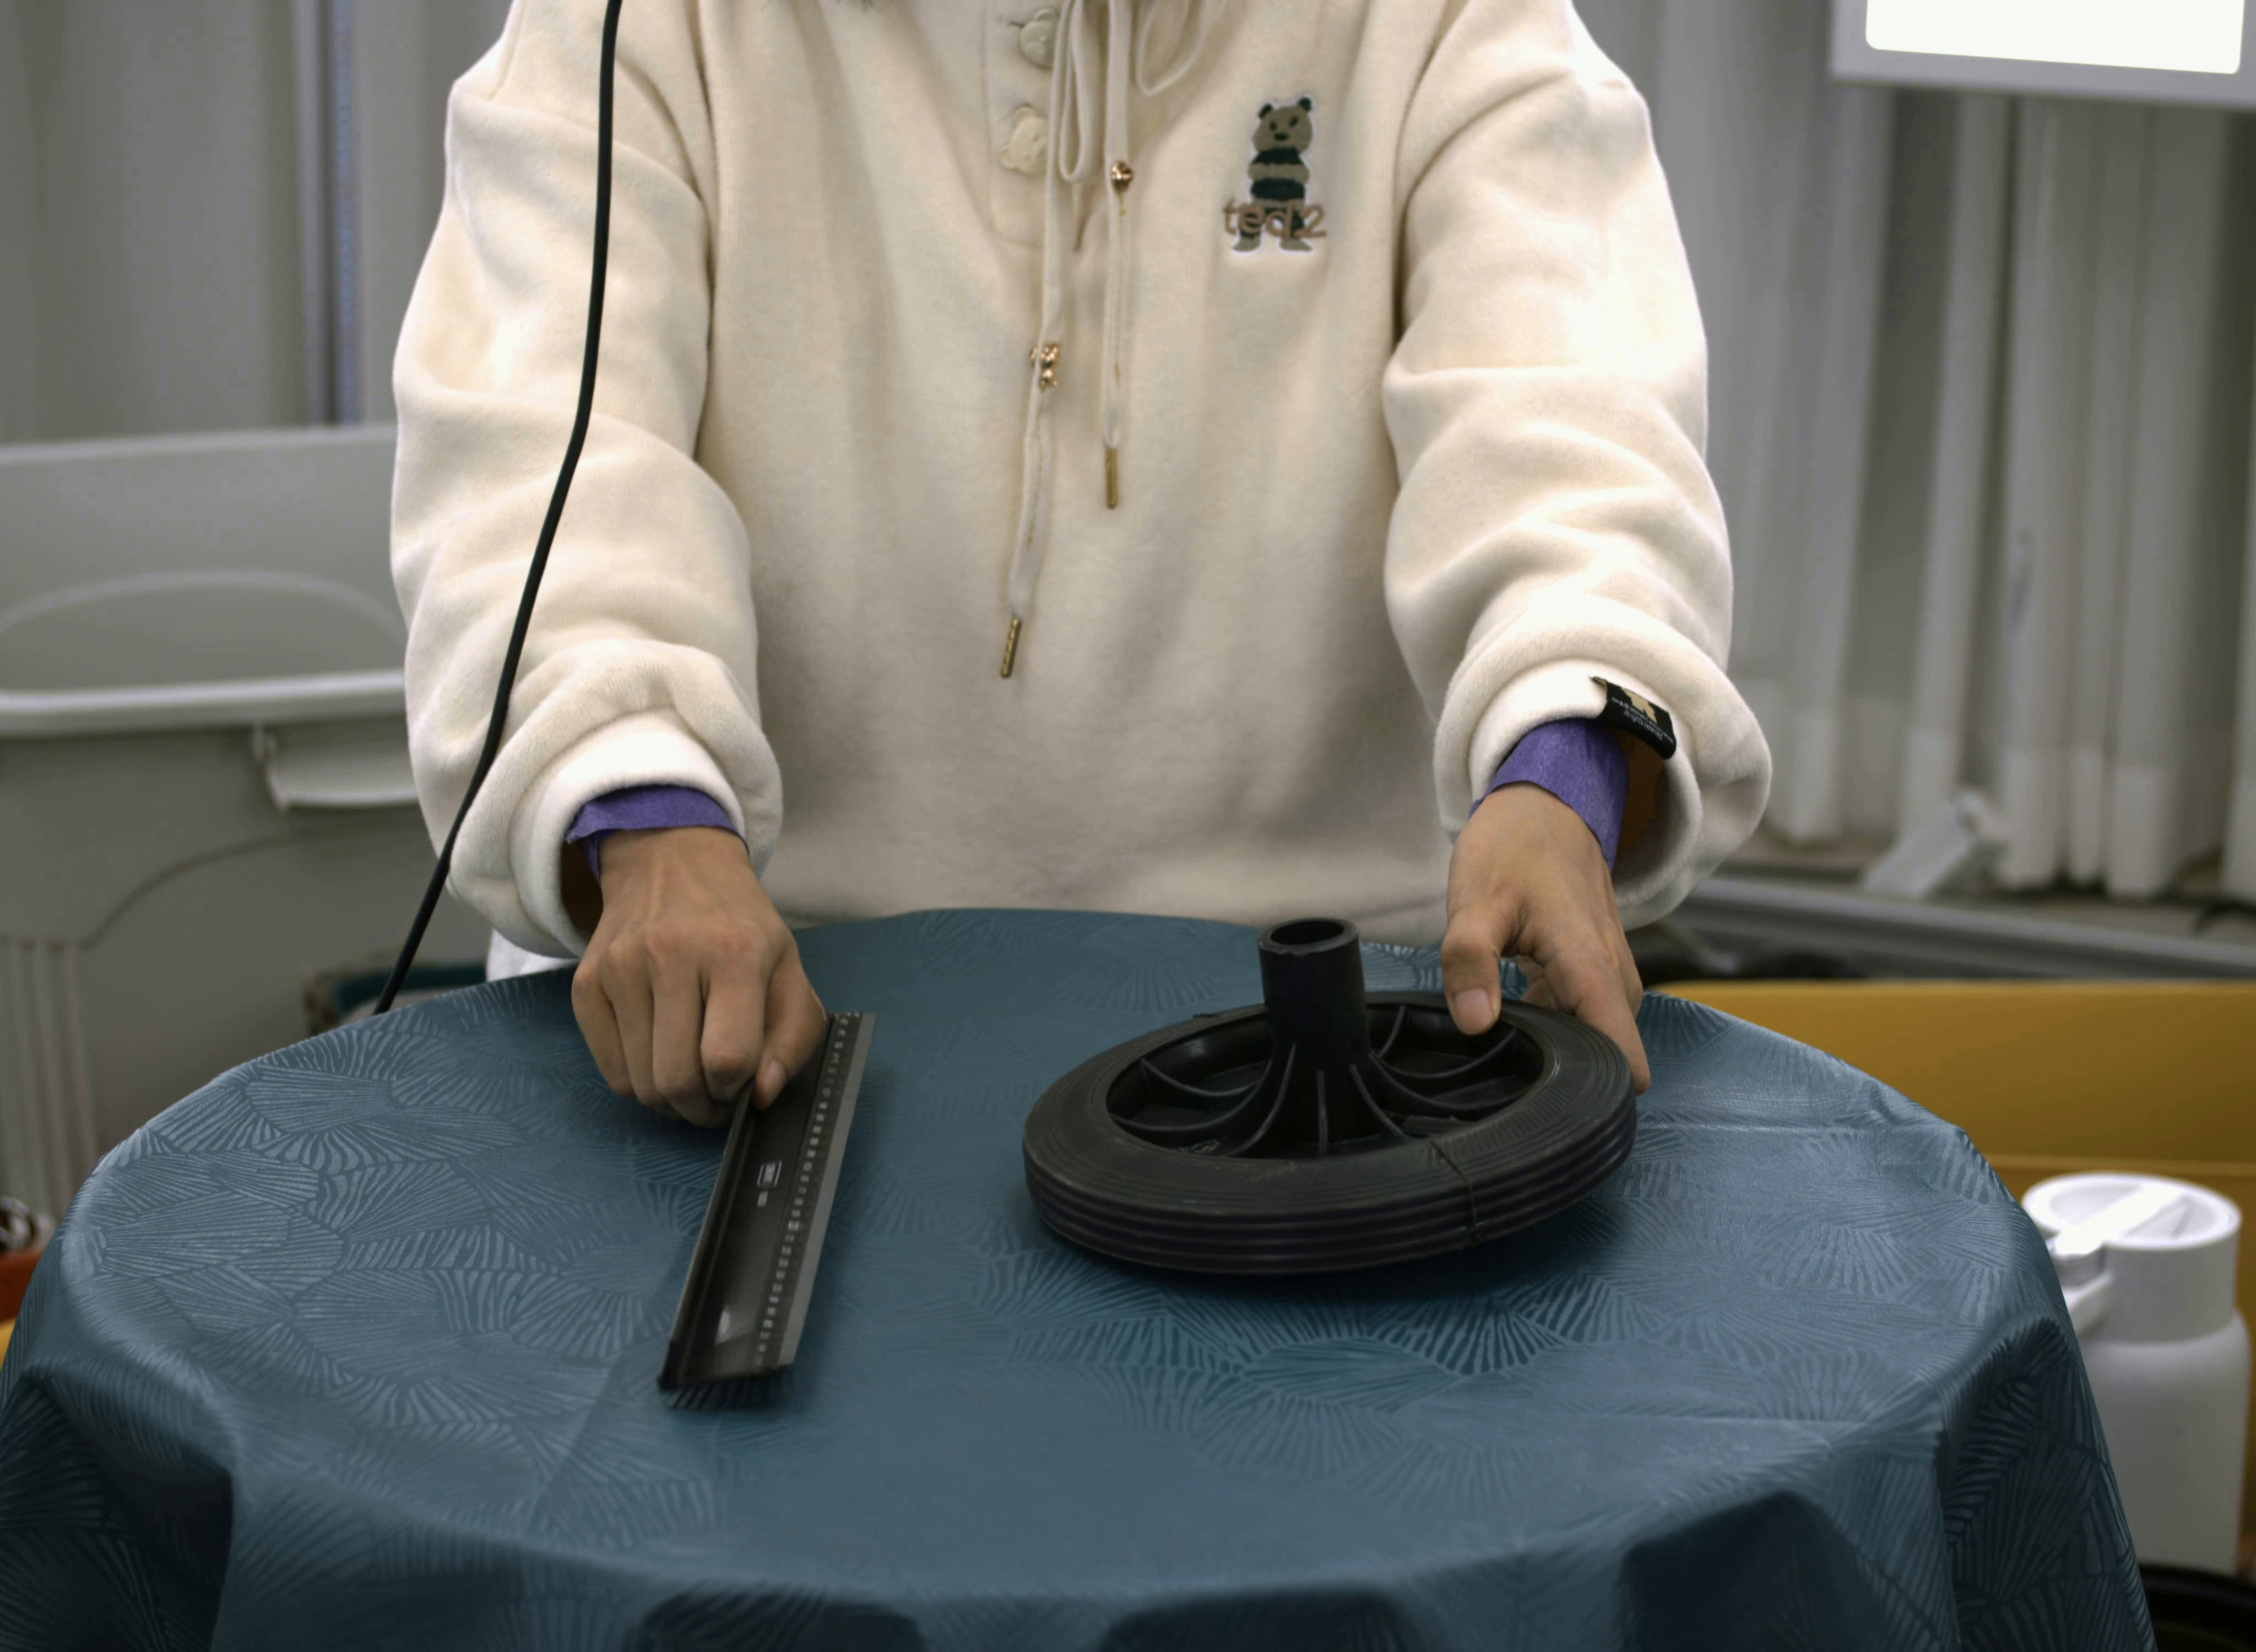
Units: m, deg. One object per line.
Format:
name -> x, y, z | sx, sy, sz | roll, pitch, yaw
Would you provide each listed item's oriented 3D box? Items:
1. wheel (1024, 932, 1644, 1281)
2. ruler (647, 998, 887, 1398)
wheel -> 0.060, 0.074, 1.600 | 0.188, 0.080, 0.187 | -2, 18, 12
ruler -> -0.106, 0.104, 1.582 | 0.039, 0.017, 0.311 | -5, 16, 5
